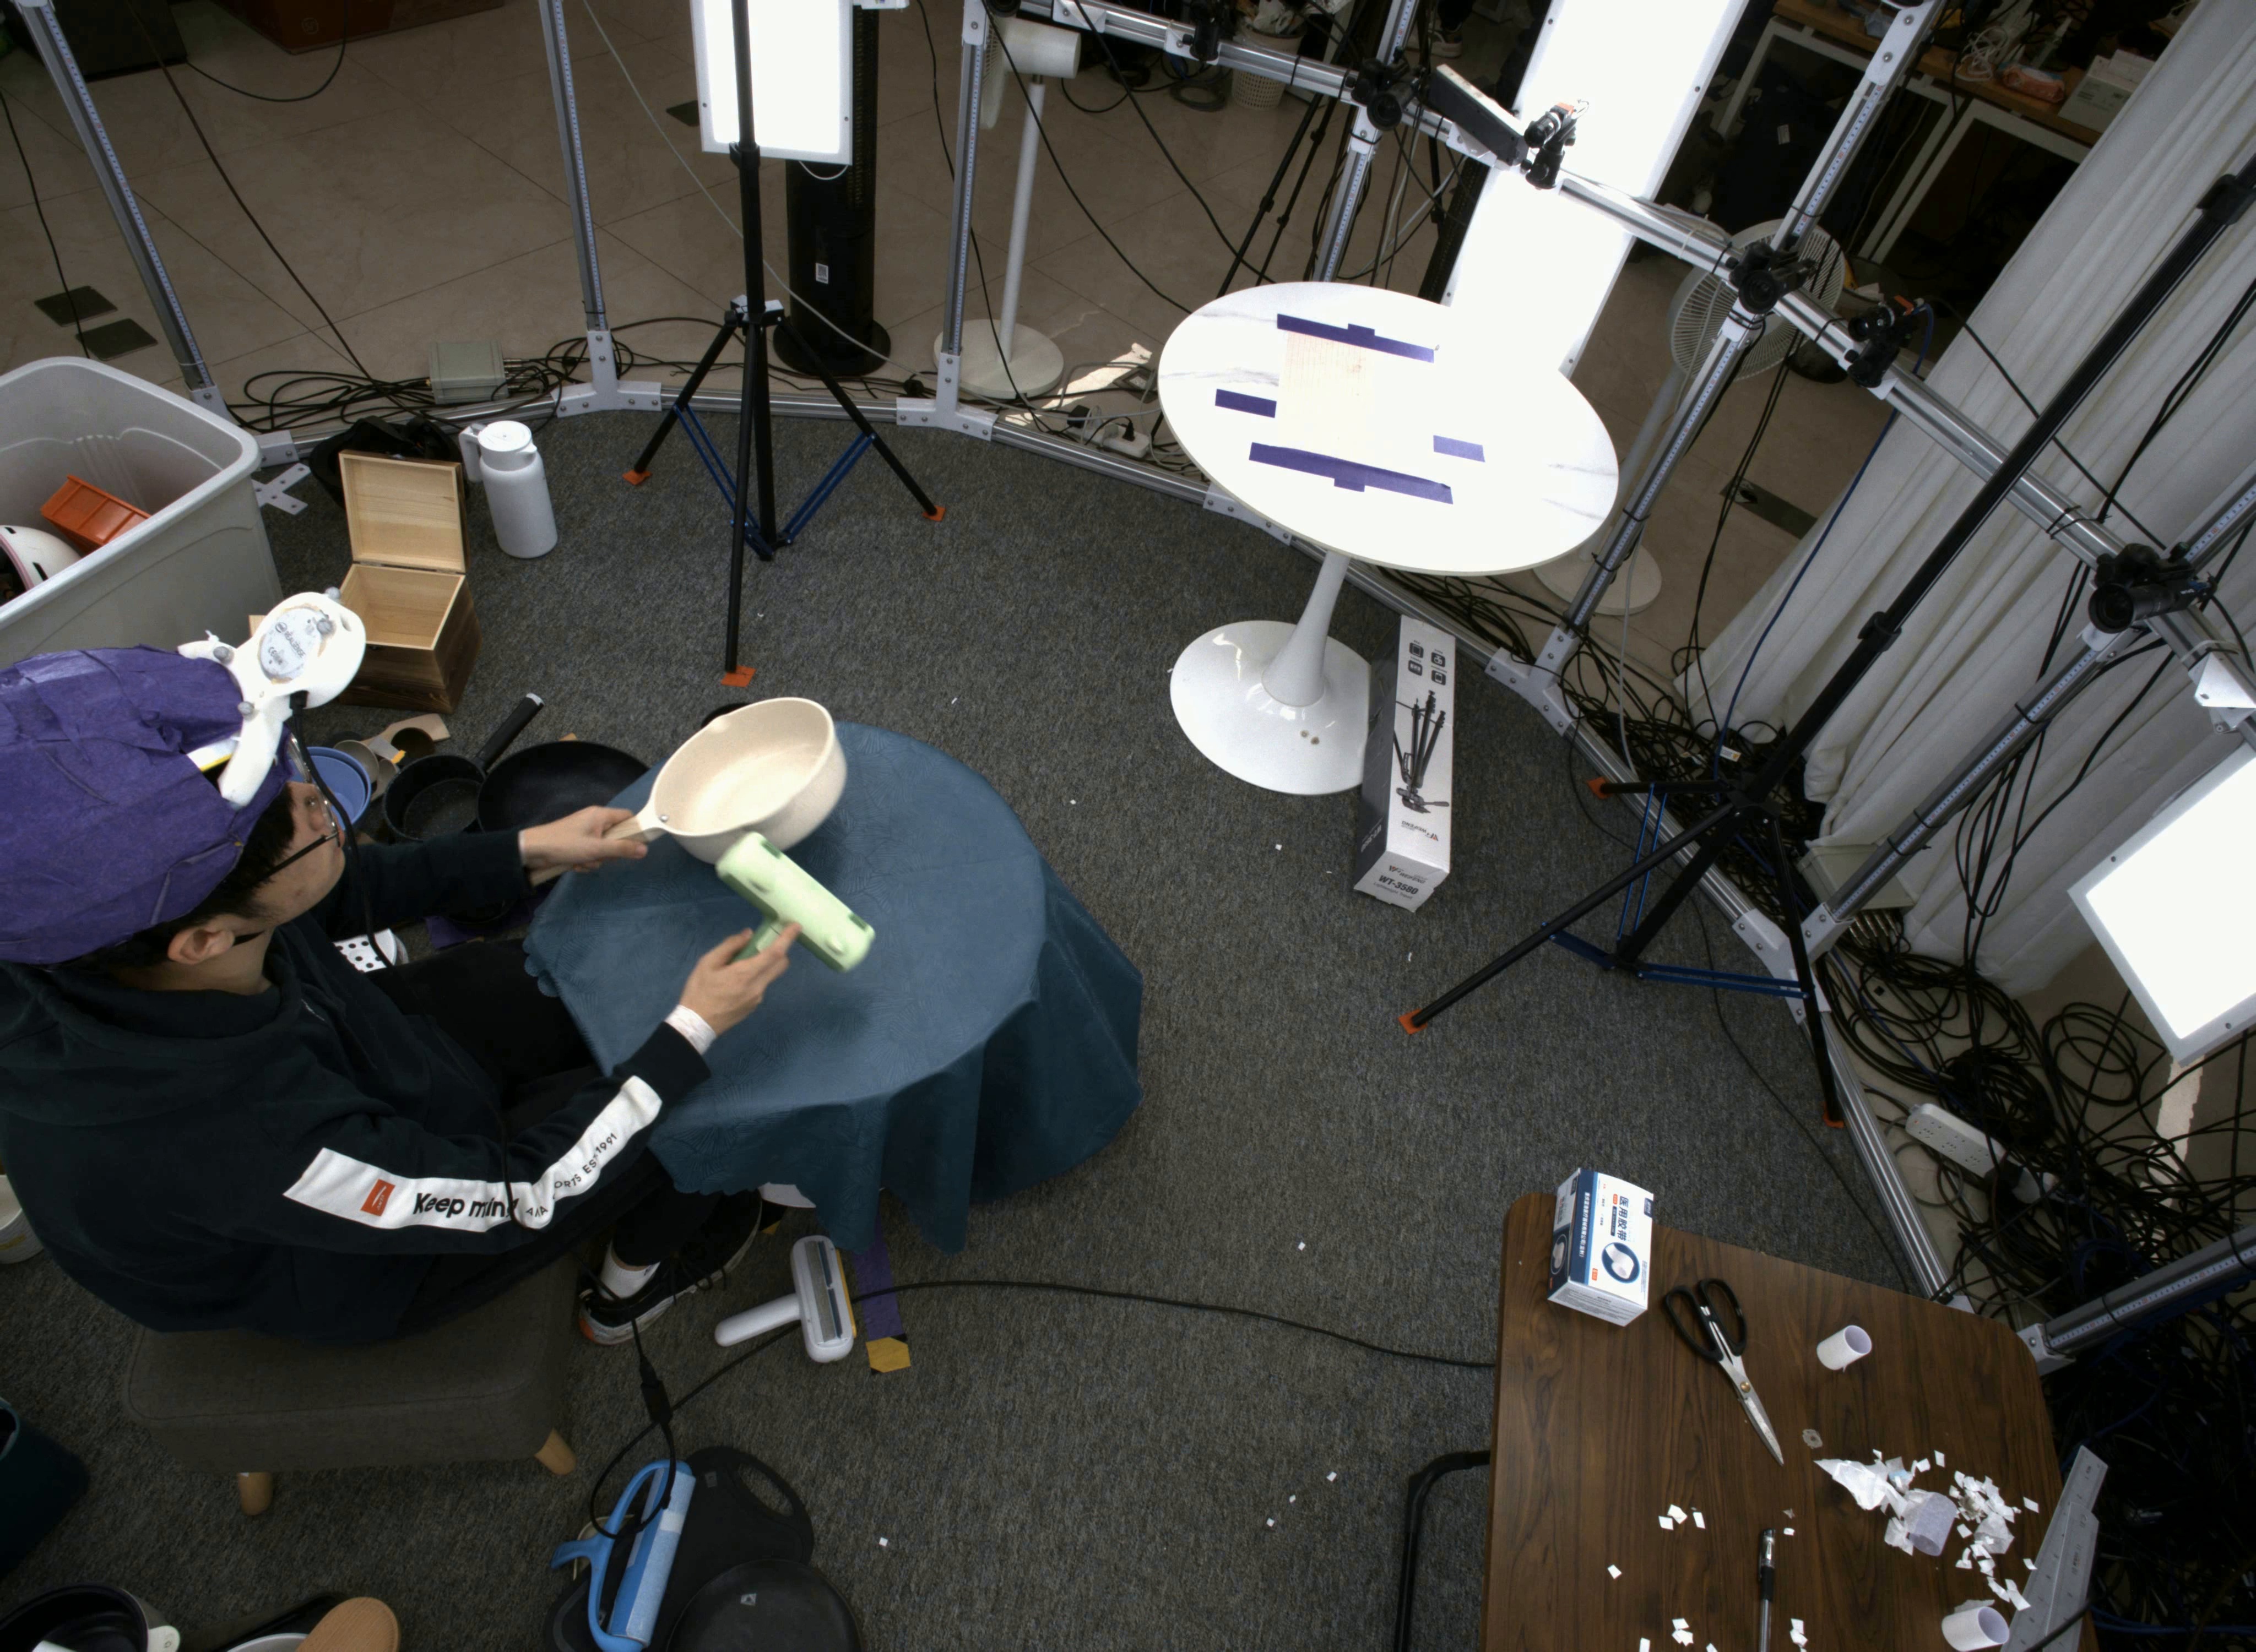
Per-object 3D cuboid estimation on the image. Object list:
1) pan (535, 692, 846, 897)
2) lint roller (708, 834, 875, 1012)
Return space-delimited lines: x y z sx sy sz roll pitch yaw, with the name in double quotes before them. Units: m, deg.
"pan" -0.553 -0.012 1.624 0.434 0.106 0.254 -32 47 -12
"lint roller" -0.410 0.138 1.479 0.205 0.079 0.183 46 67 -28
